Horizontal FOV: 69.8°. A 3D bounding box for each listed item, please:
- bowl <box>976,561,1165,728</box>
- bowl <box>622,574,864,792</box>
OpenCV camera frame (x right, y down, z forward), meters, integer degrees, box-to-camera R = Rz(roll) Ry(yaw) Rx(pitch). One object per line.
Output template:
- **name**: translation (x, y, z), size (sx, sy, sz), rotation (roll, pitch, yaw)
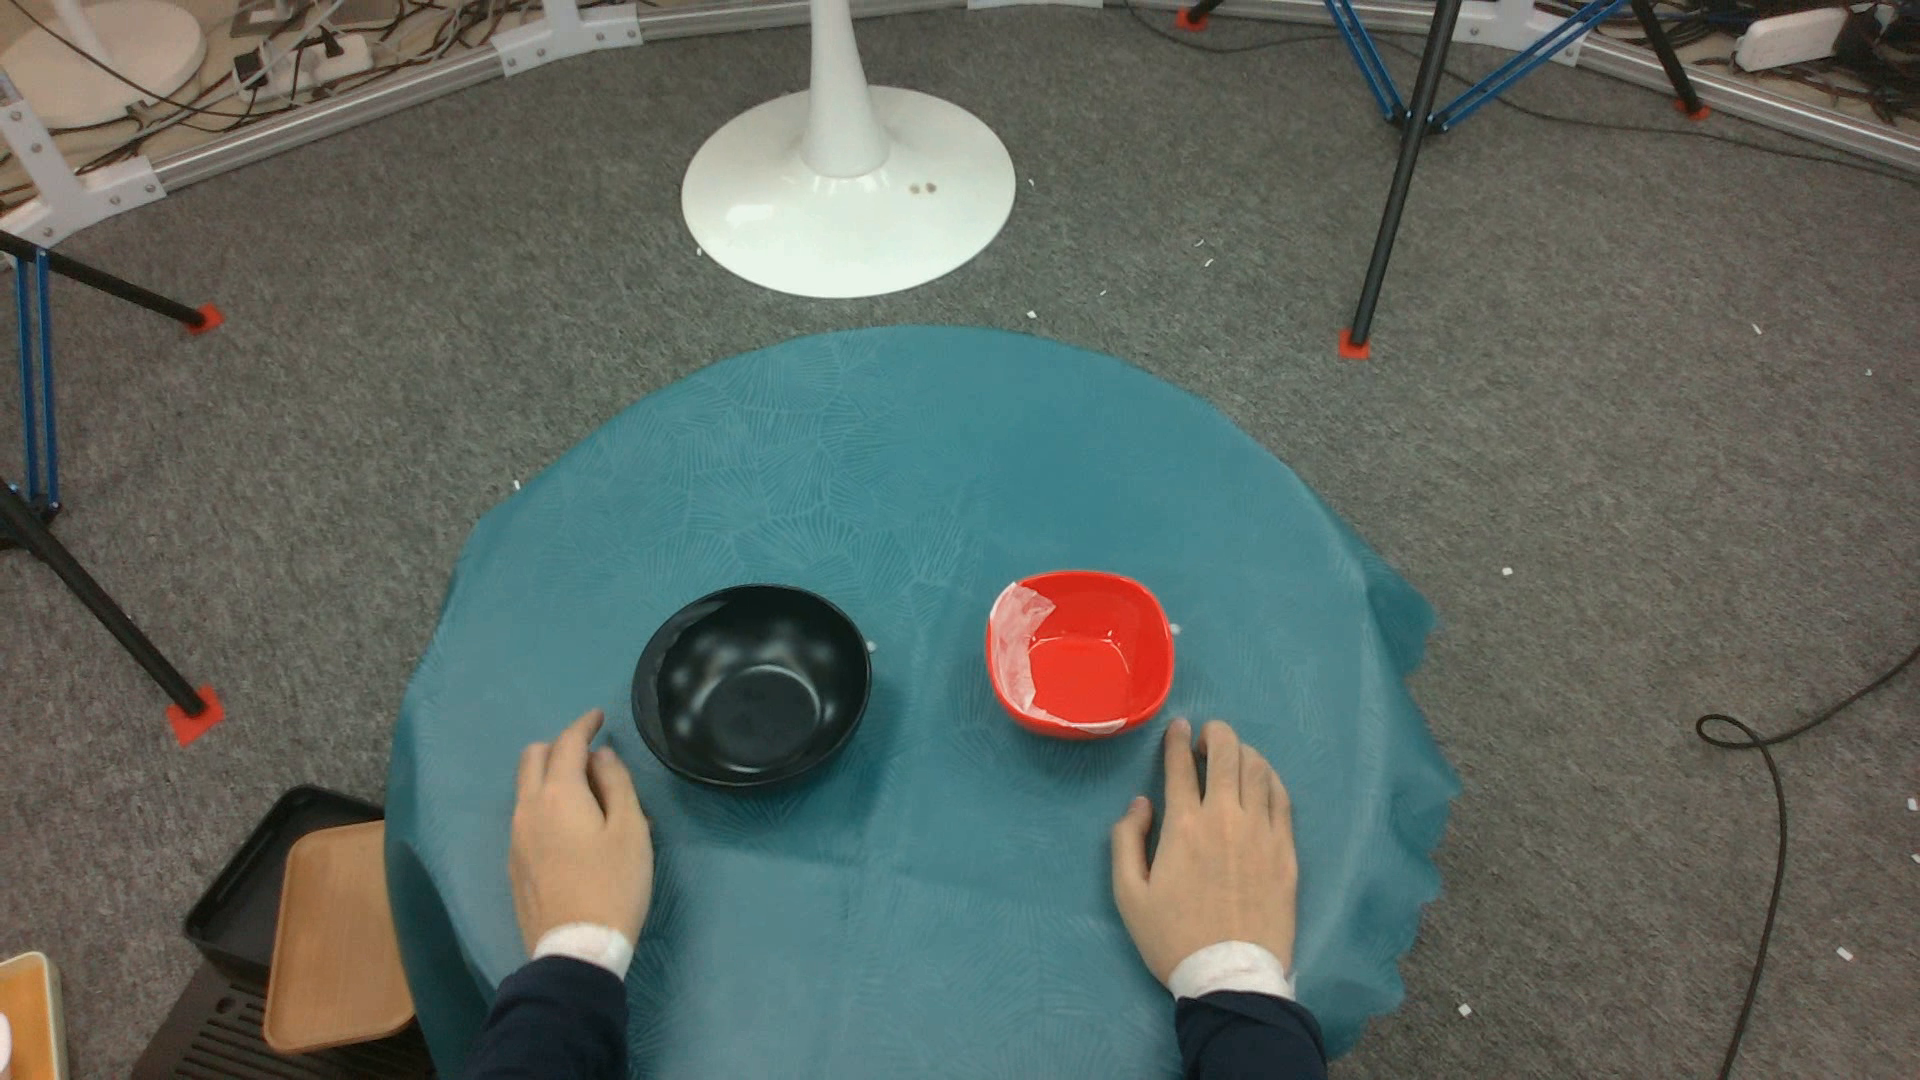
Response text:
- **bowl**: translation (0.064, 0.070, 0.821), size (0.119, 0.051, 0.119), rotation (1, 50, 0)
- **bowl**: translation (-0.125, 0.091, 0.812), size (0.140, 0.049, 0.140), rotation (0, 56, 0)
